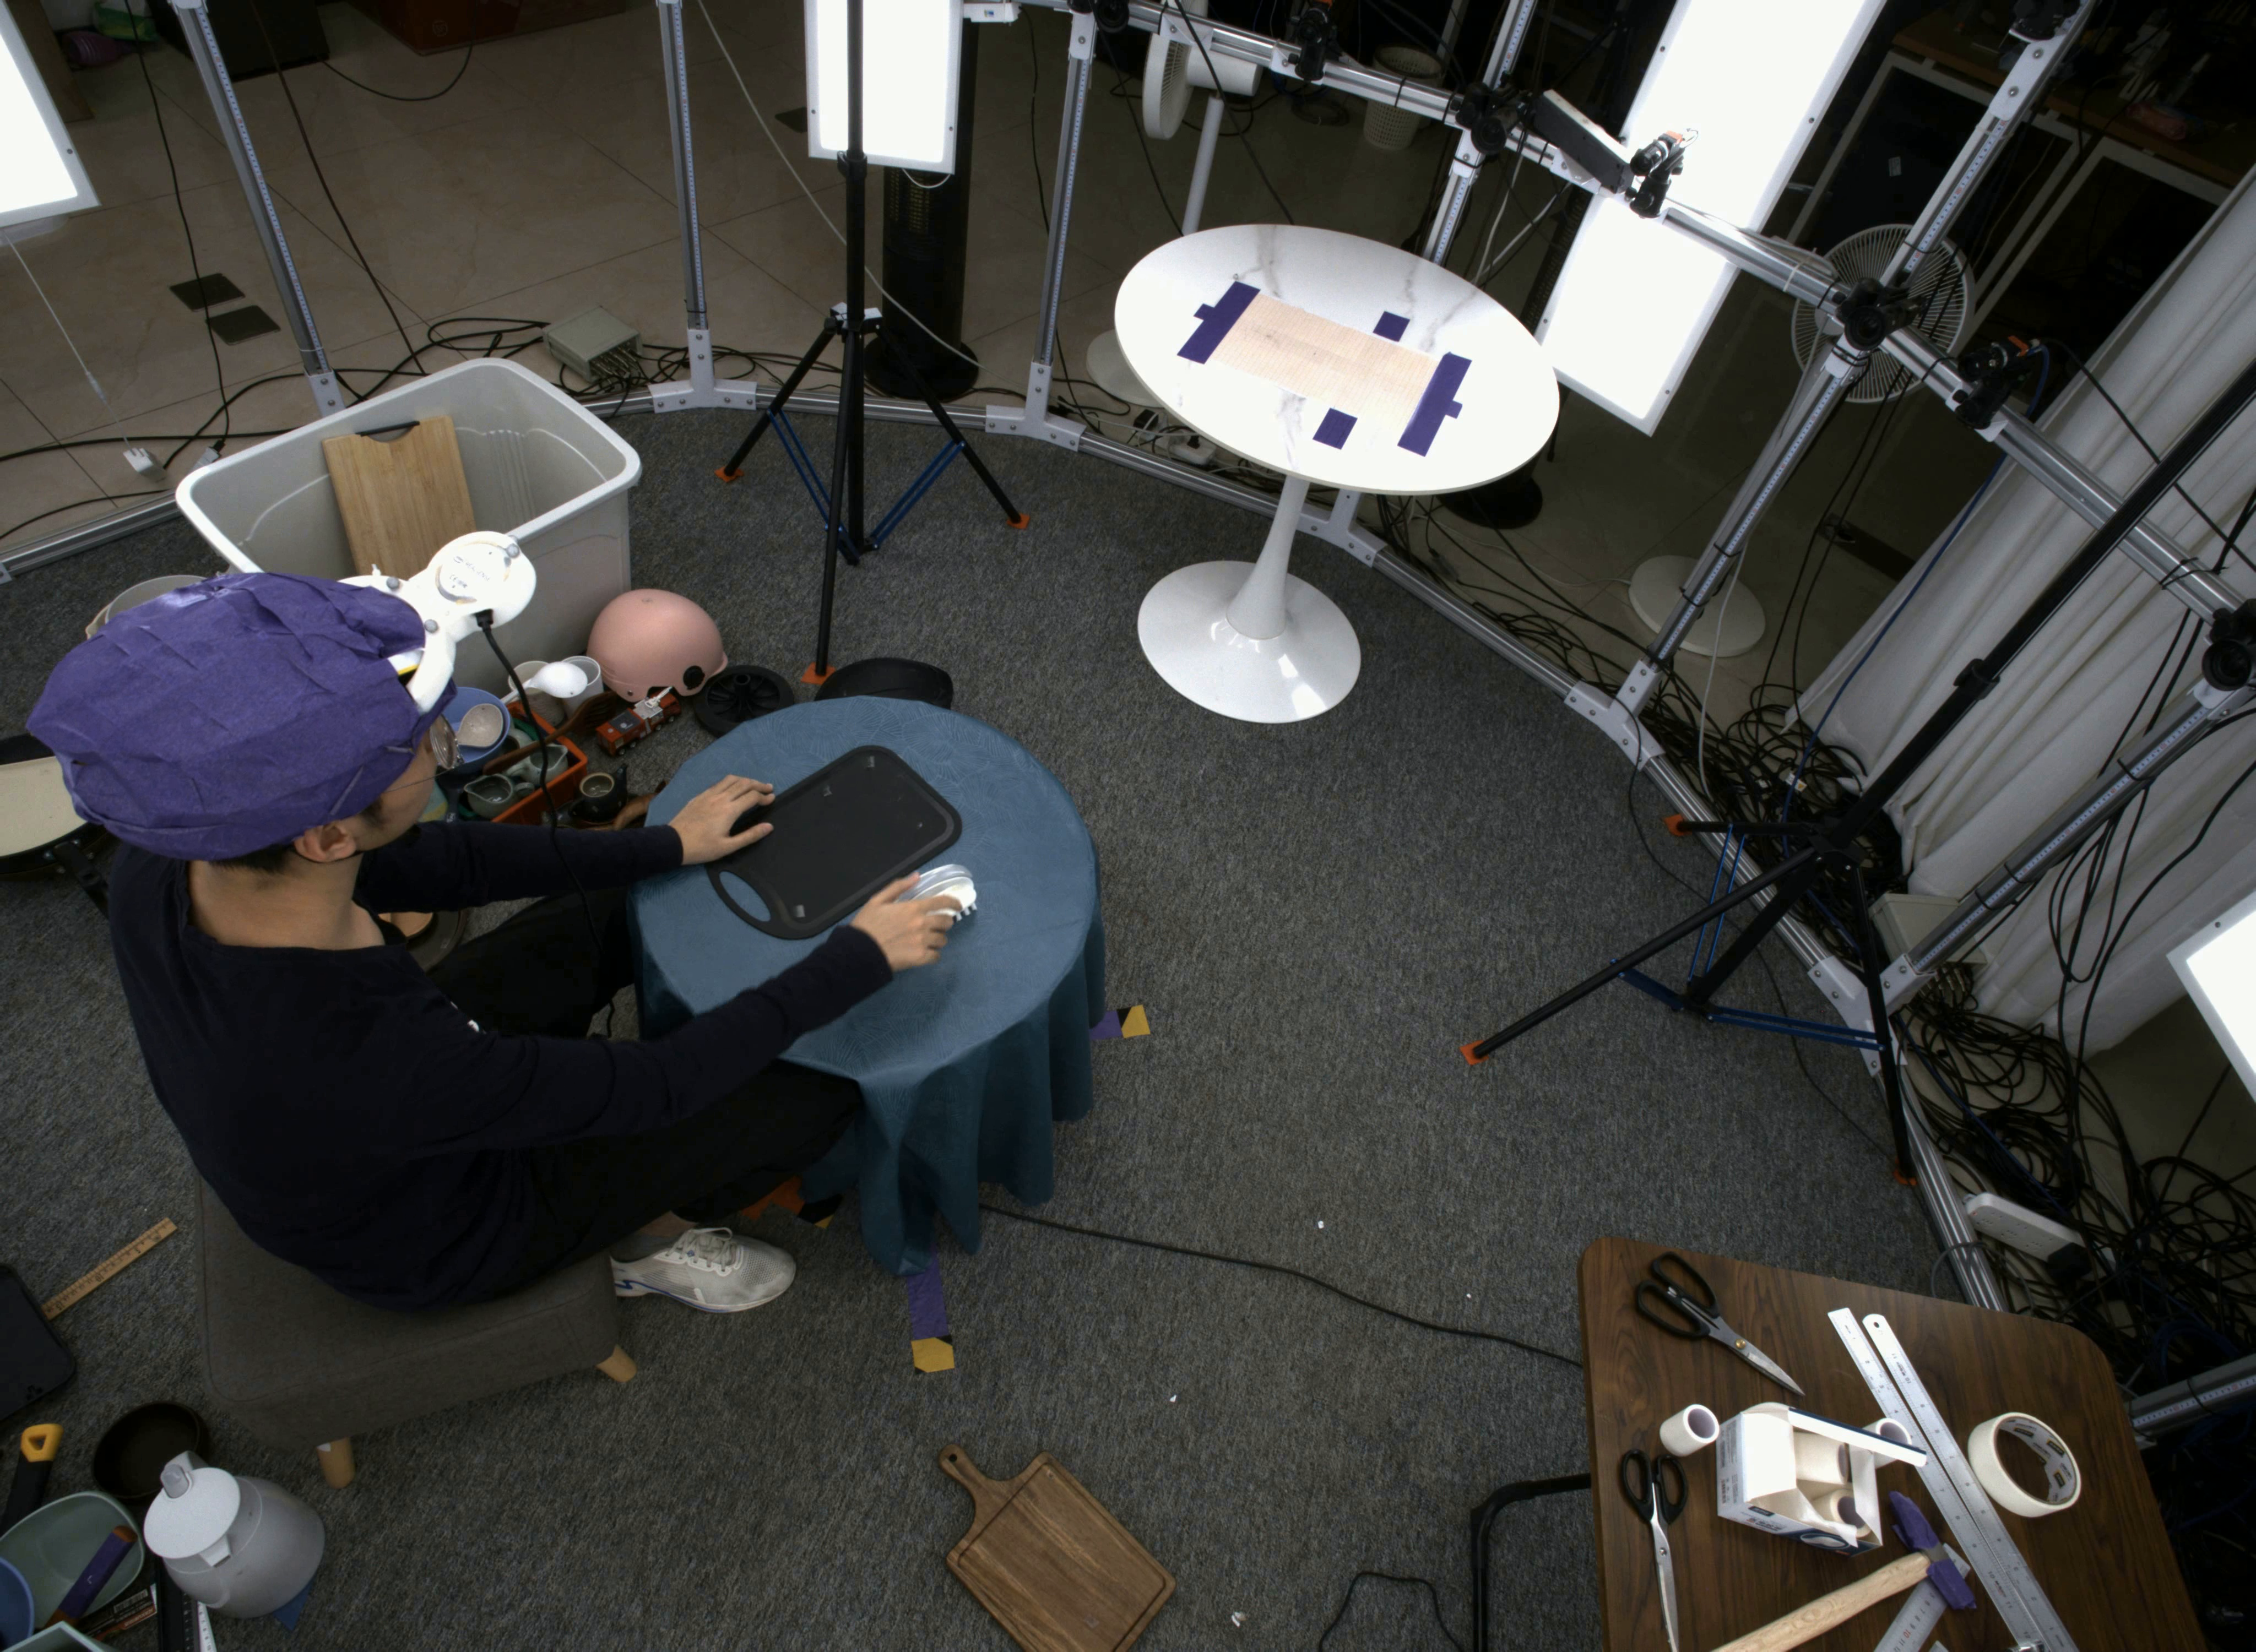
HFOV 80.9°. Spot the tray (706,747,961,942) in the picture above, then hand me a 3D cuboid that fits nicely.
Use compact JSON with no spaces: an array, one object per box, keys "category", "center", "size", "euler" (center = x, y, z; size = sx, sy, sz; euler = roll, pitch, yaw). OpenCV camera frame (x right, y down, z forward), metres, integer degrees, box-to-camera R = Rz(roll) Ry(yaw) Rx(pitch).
[{"category":"tray","center":[-0.391,0.020,1.714],"size":[0.206,0.010,0.326],"euler":[42,56,18]}]

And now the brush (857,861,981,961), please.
[{"category":"brush","center":[-0.267,0.101,1.630],"size":[0.176,0.096,0.060],"euler":[-30,61,-27]}]
